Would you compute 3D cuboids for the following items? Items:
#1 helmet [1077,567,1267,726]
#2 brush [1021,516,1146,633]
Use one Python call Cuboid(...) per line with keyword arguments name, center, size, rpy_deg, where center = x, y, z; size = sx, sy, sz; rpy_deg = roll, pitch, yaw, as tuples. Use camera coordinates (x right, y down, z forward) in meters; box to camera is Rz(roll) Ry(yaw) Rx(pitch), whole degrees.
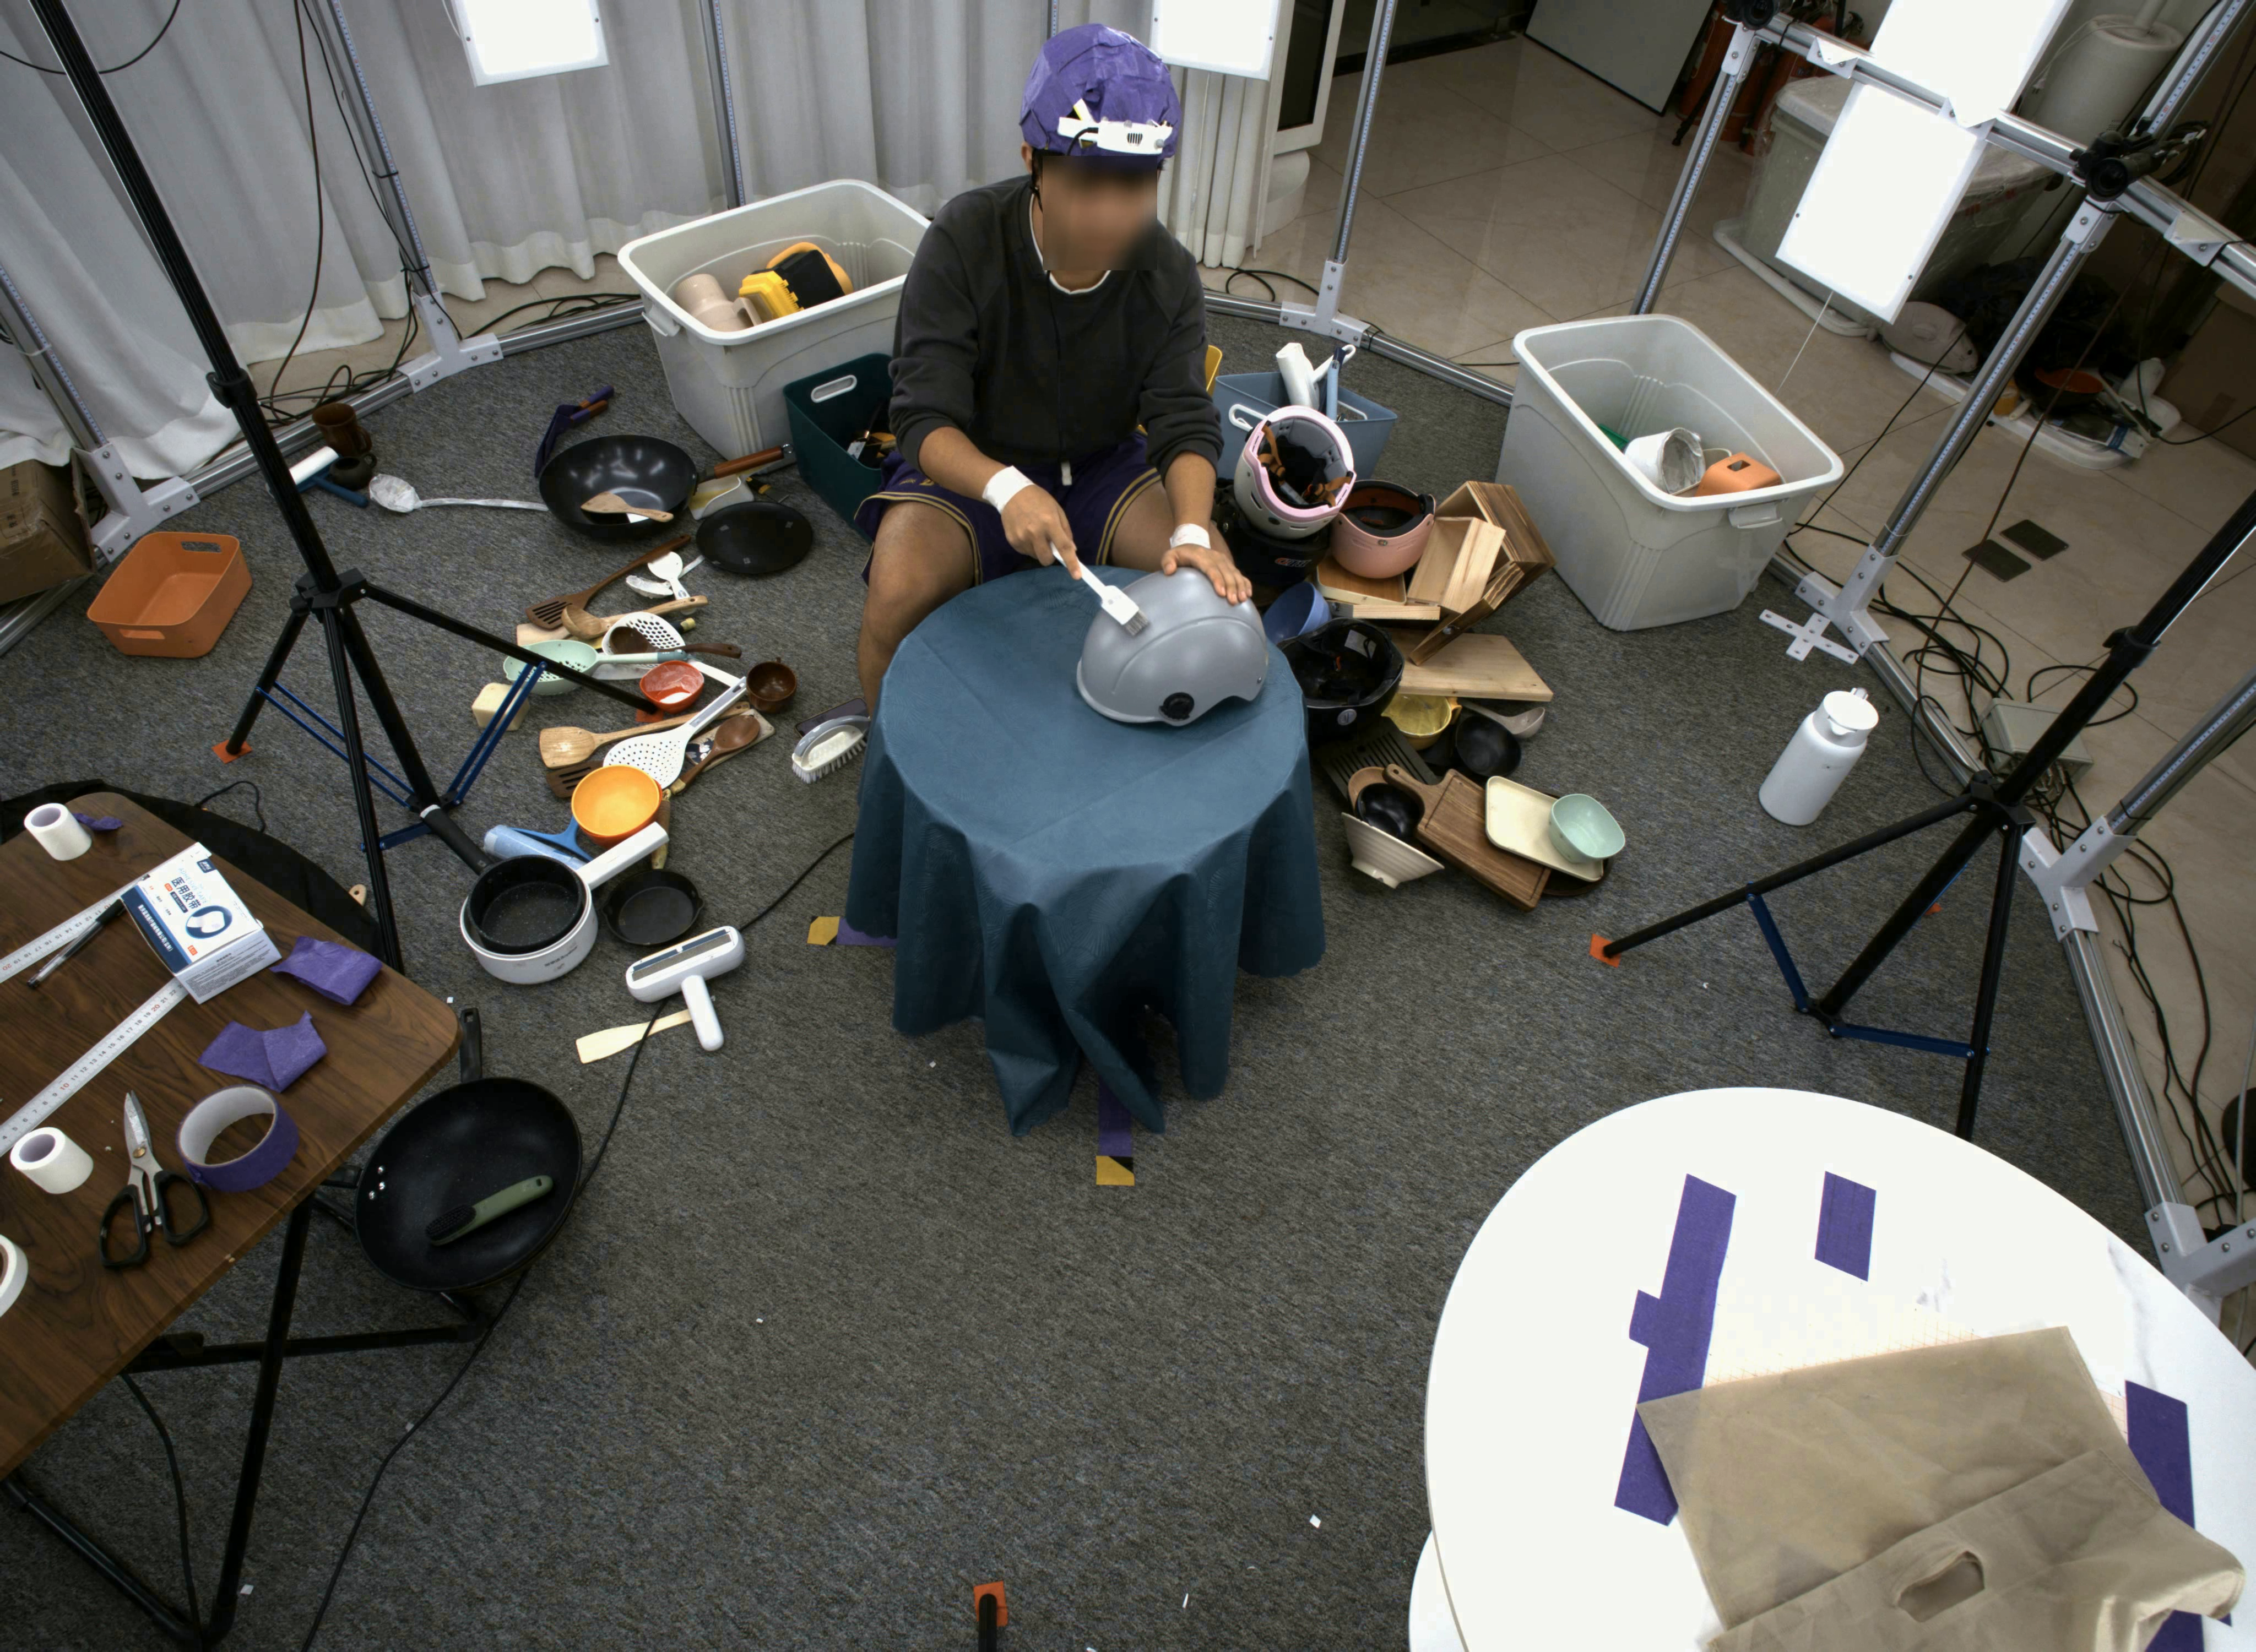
Cuboid(name="helmet", center=(0.063, -0.271, 1.804), size=(0.276, 0.164, 0.237), rpy_deg=(-14, 50, -14))
Cuboid(name="brush", center=(-0.062, -0.346, 1.765), size=(0.034, 0.049, 0.248), rpy_deg=(-46, 61, 1))
